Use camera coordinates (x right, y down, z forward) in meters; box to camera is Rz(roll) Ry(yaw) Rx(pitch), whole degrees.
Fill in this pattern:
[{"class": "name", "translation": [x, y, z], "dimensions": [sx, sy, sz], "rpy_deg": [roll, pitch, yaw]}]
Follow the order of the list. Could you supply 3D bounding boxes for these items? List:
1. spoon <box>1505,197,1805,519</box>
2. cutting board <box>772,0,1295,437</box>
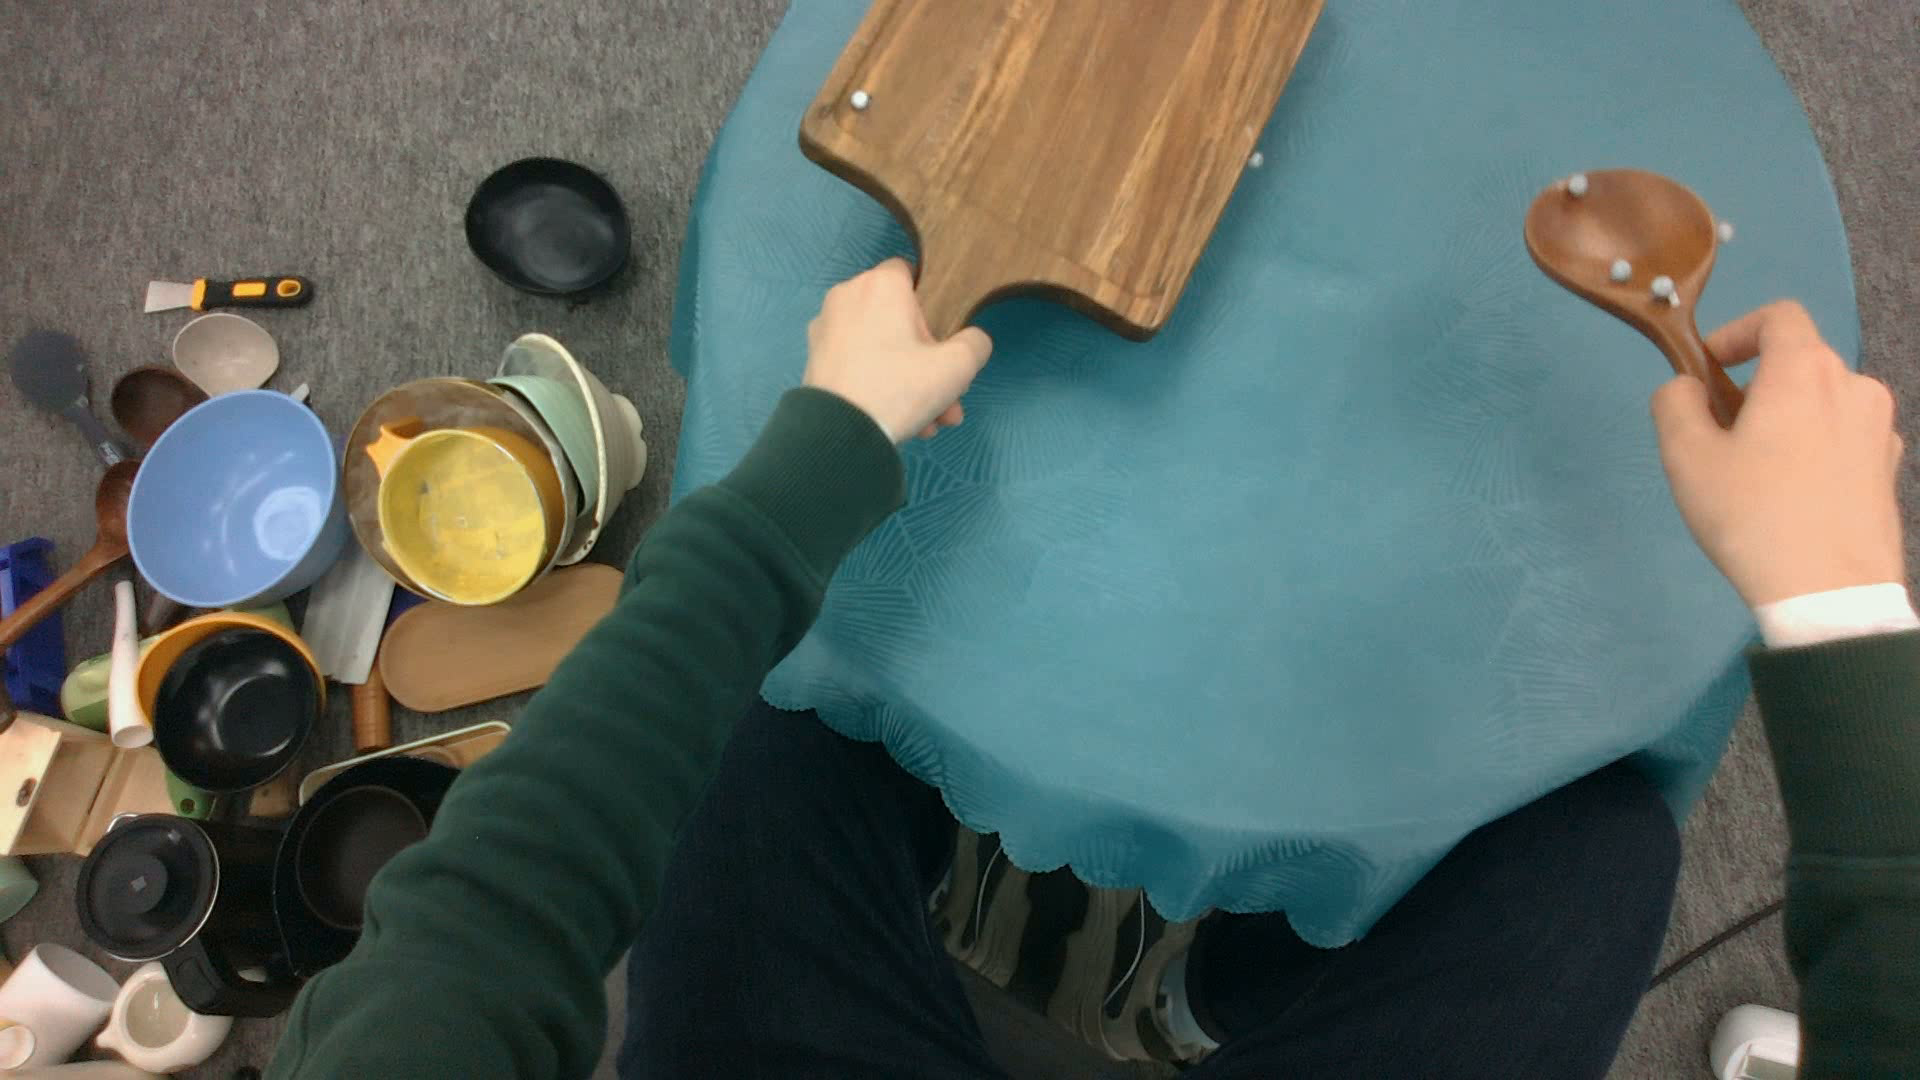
[{"class": "spoon", "translation": [0.273, -0.080, 0.540], "dimensions": [0.075, 0.017, 0.217], "rpy_deg": [-7, 39, 8]}, {"class": "cutting board", "translation": [0.028, -0.204, 0.668], "dimensions": [0.201, 0.023, 0.353], "rpy_deg": [28, 74, -6]}]
